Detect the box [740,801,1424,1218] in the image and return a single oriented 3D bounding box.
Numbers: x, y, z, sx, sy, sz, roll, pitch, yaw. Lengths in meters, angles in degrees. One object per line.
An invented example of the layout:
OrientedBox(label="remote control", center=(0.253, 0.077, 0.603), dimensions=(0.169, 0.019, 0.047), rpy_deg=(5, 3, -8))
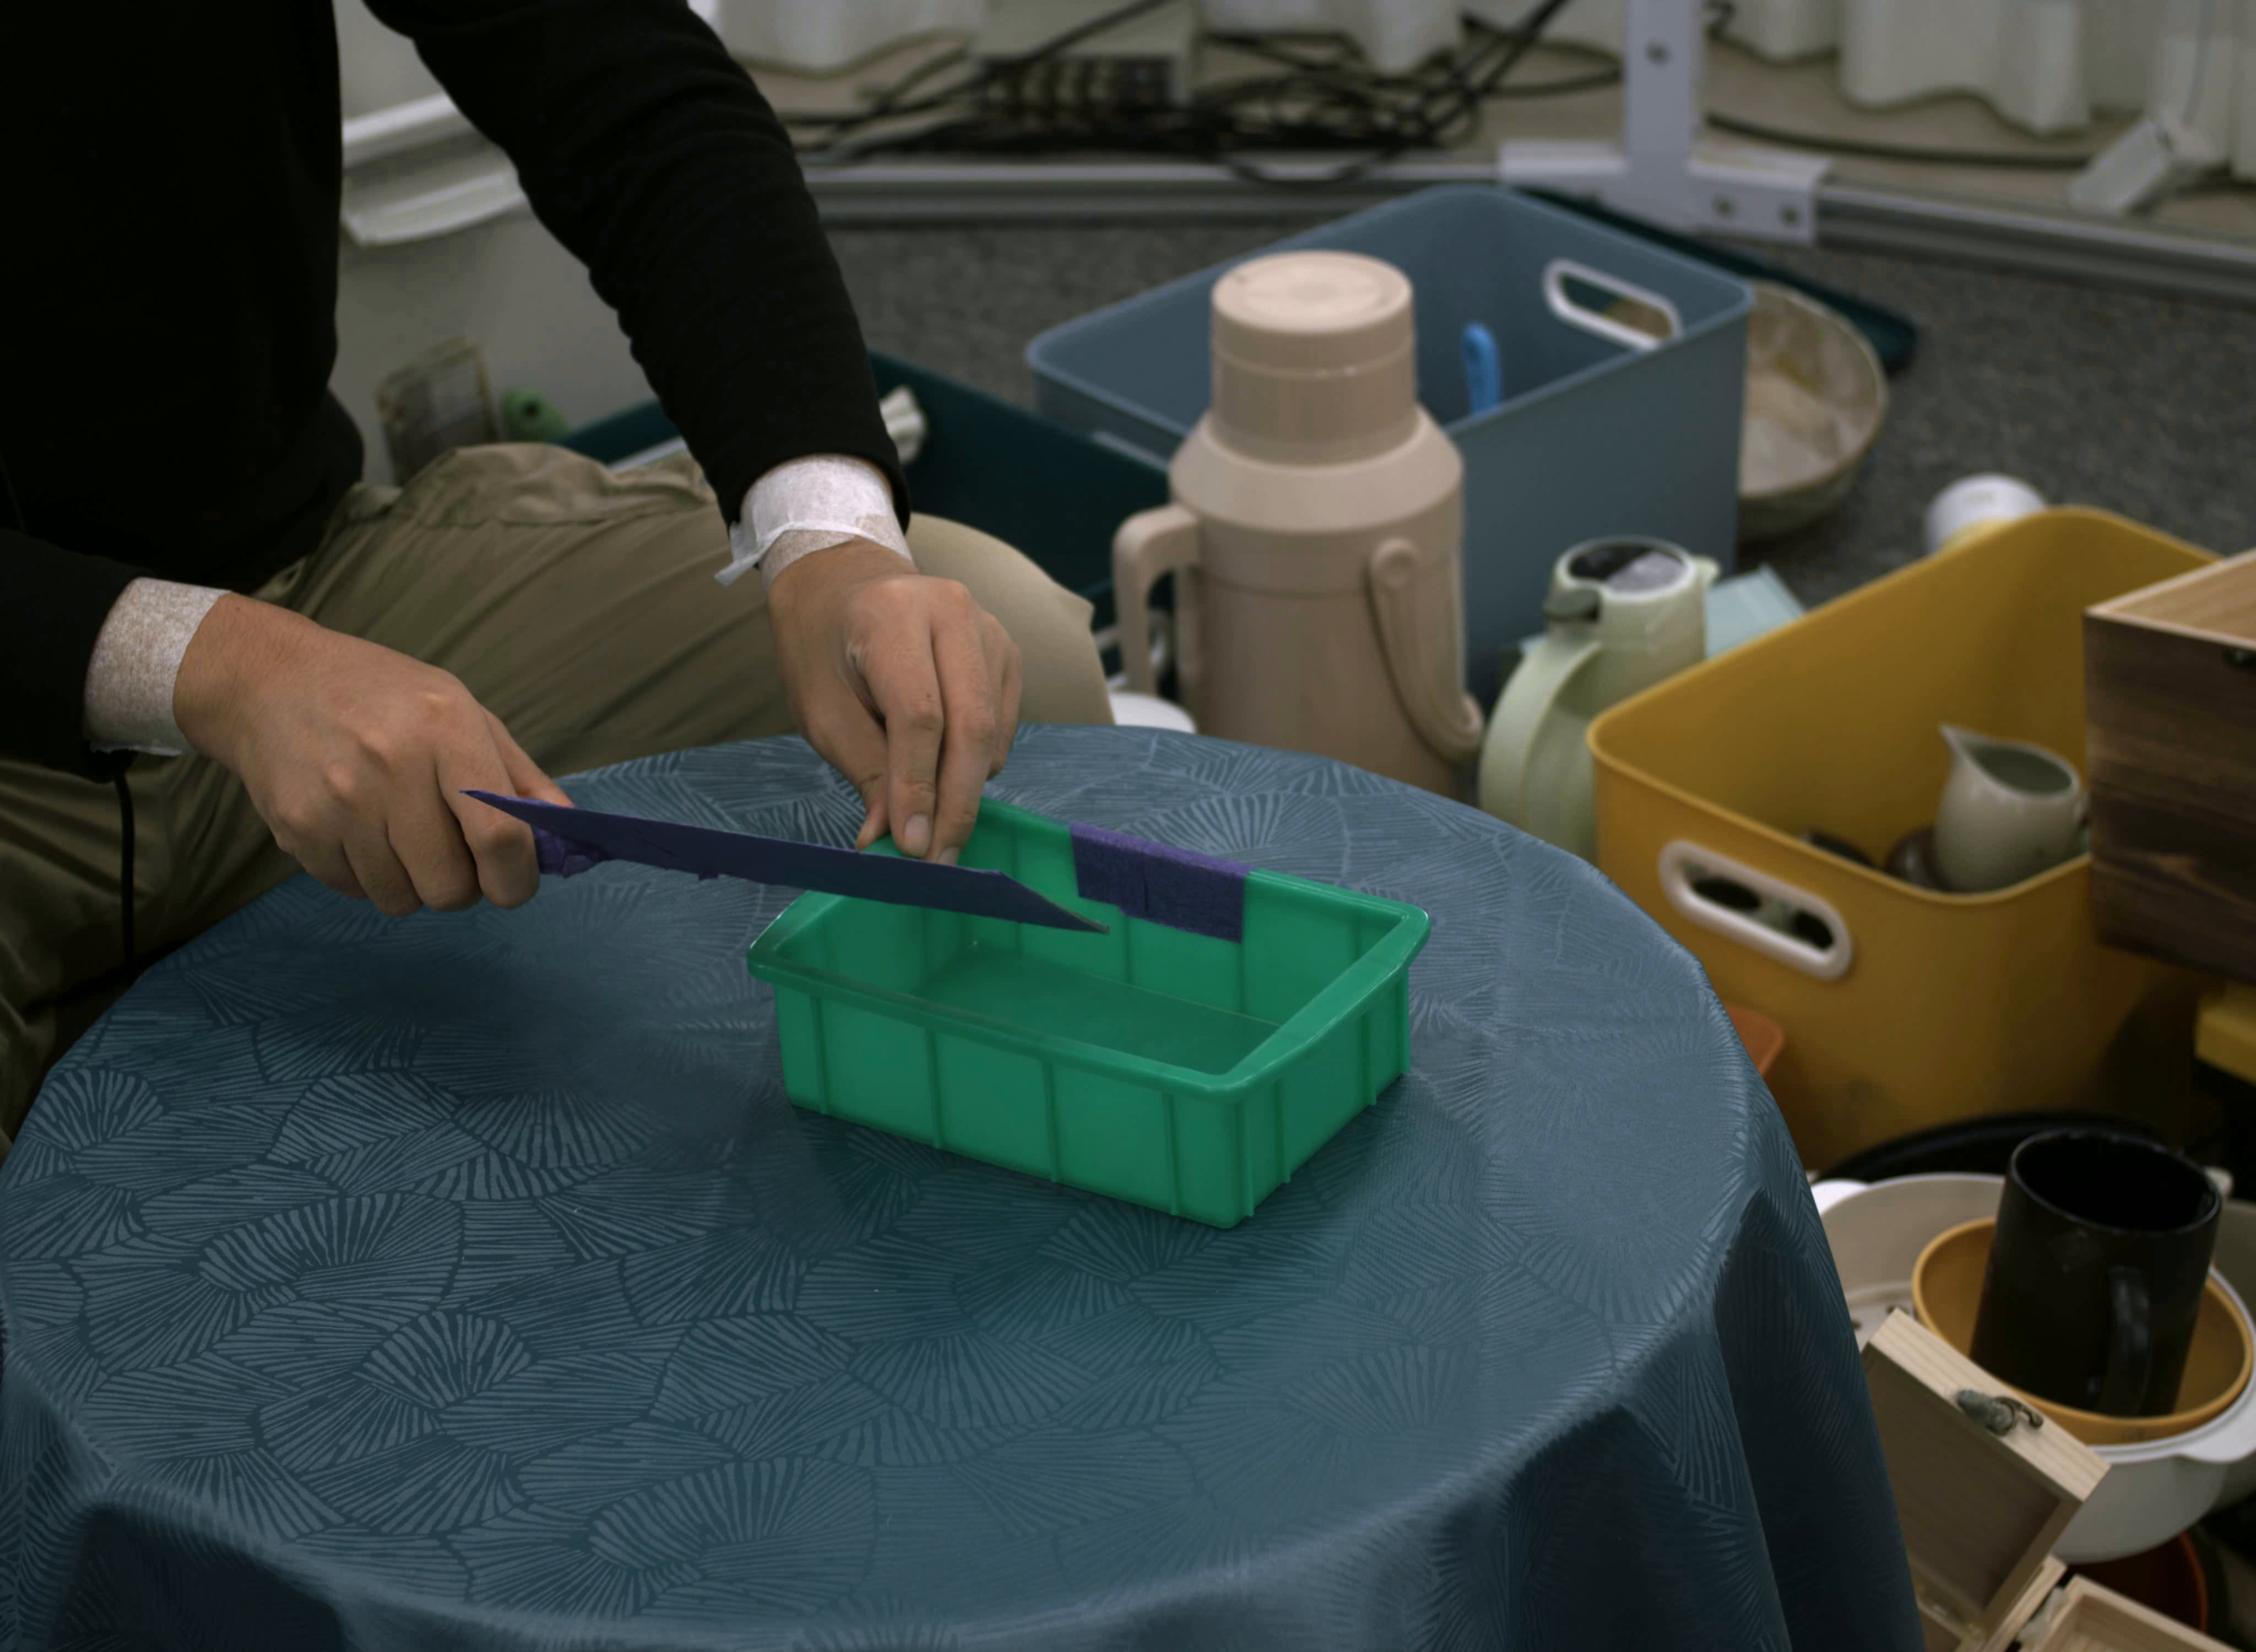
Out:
OrientedBox(label="box", center=(-0.014, 0.063, 1.910), dimensions=(0.209, 0.065, 0.141), rpy_deg=(11, 29, 29))

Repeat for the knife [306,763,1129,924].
OrientedBox(label="knife", center=(-0.156, 0.000, 1.878), dimensions=(0.313, 0.032, 0.103), rpy_deg=(6, -12, 27))
